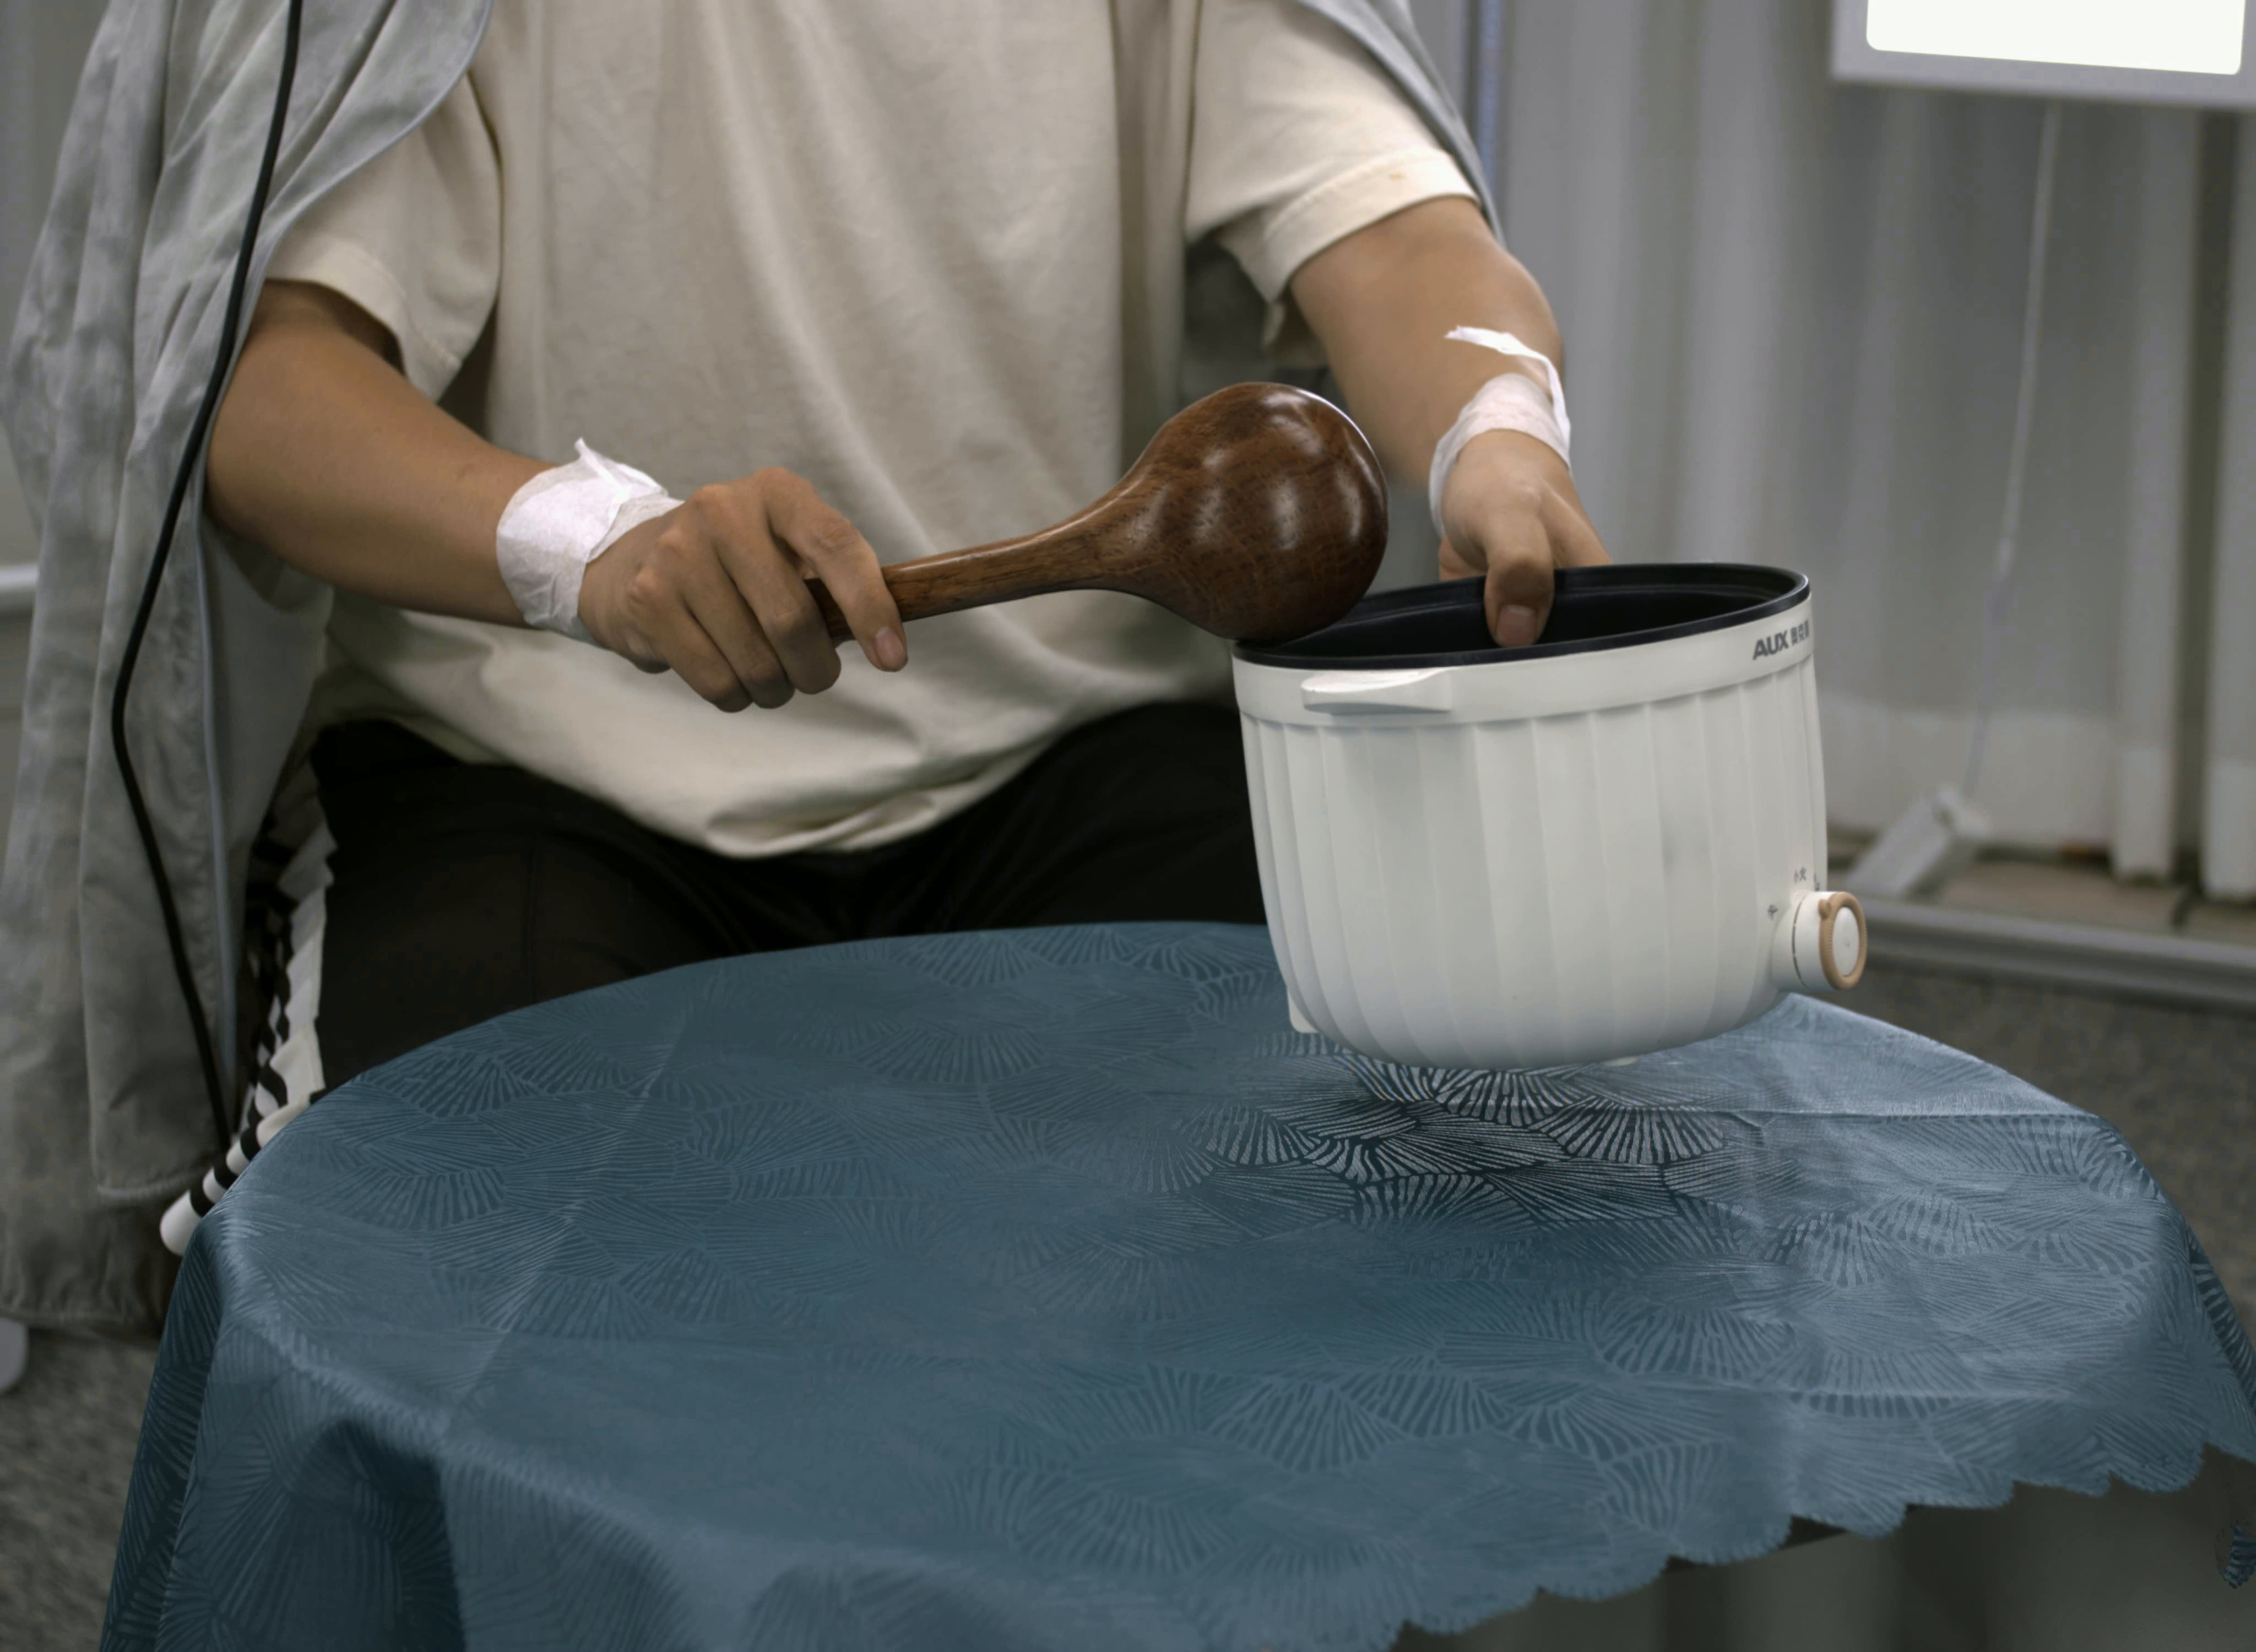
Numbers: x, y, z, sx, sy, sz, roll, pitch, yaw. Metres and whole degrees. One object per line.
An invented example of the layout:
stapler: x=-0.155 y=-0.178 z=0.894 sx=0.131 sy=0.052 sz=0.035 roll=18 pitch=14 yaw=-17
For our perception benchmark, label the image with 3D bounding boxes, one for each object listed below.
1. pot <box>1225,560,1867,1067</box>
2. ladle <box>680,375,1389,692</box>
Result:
pot: x=0.133 y=-0.004 z=1.647 sx=0.188 sy=0.143 sz=0.241 roll=-4 pitch=10 yaw=31
ladle: x=-0.032 y=-0.083 z=1.695 sx=0.077 sy=0.082 sz=0.271 roll=-5 pitch=-5 yaw=-44
